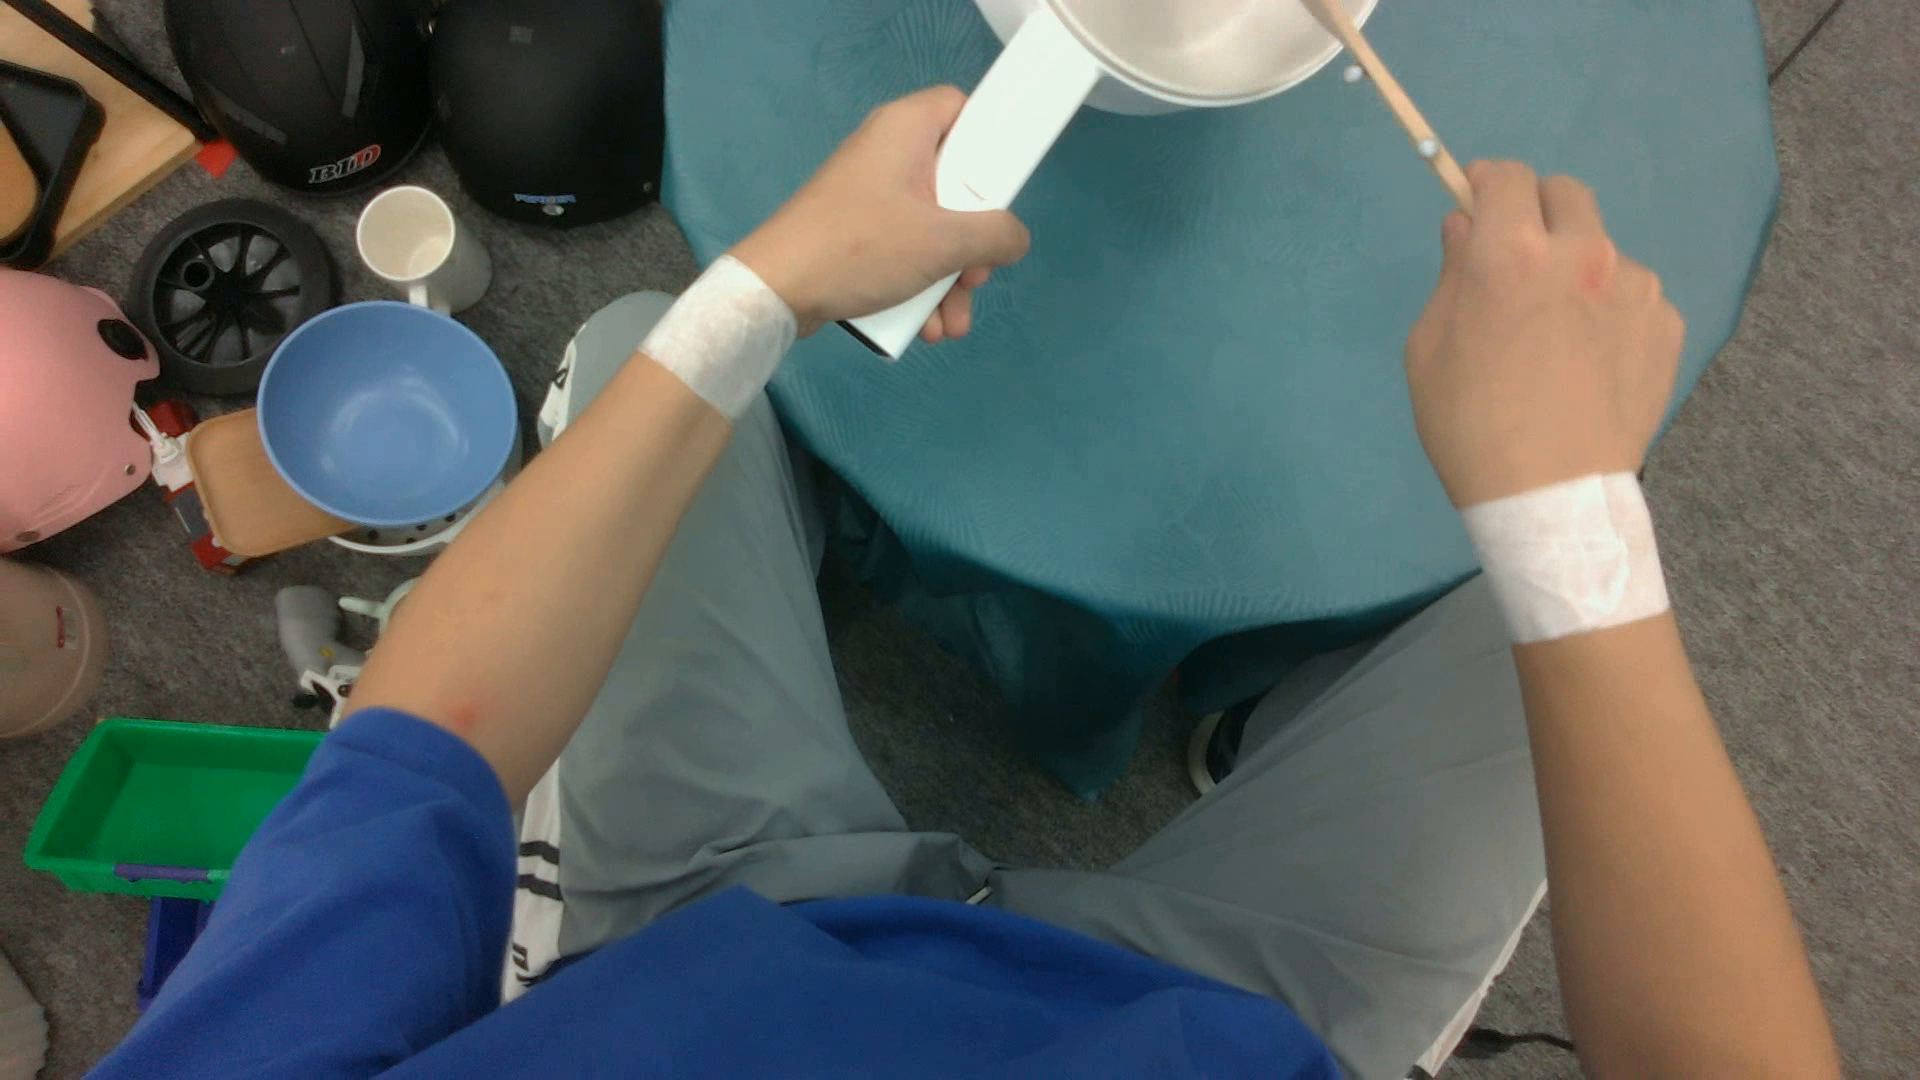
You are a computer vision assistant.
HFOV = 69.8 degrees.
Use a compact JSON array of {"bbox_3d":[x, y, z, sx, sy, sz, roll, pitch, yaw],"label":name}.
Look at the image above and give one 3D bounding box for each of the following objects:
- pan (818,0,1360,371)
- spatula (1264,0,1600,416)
[{"bbox_3d":[0.045,-0.234,0.647,0.201,0.102,0.355,36,87,-23],"label":"pan"},{"bbox_3d":[0.172,-0.170,0.566,0.010,0.072,0.293,-36,75,19],"label":"spatula"}]
